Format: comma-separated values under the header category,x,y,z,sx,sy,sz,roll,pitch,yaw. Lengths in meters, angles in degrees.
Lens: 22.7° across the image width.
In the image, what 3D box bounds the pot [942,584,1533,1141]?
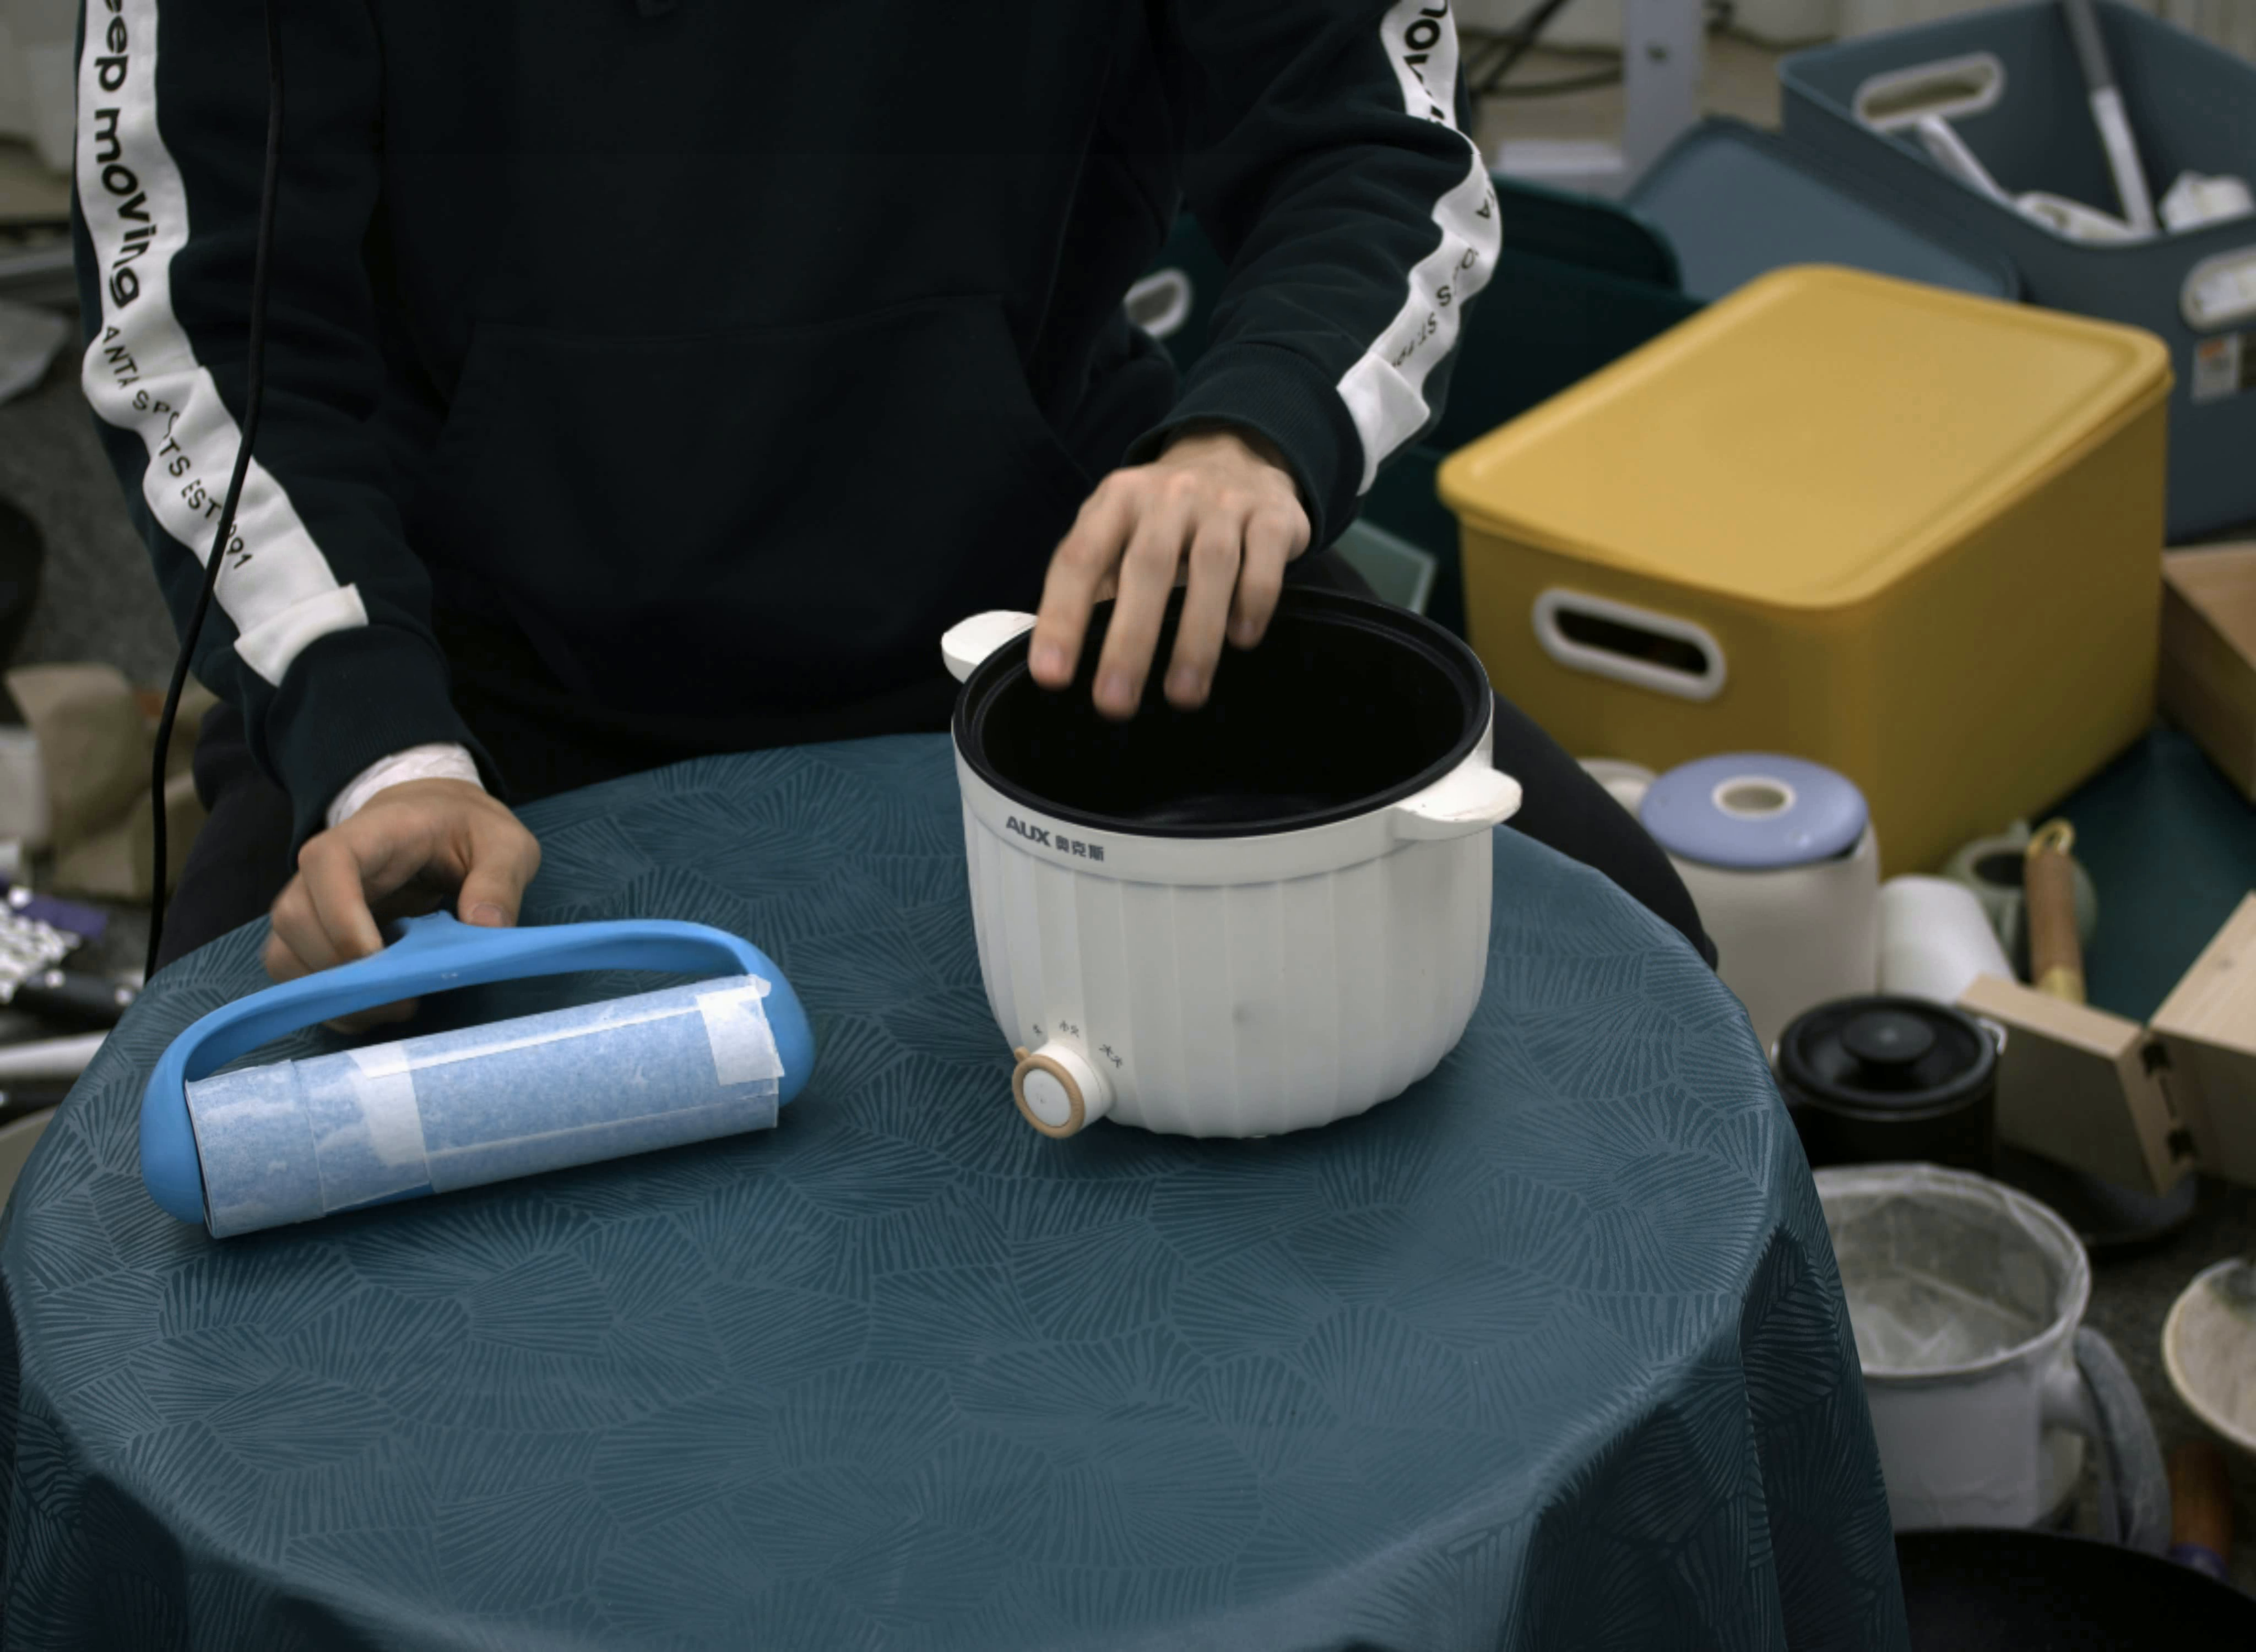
category,x,y,z,sx,sy,sz,roll,pitch,yaw
pot,0.034,0.019,1.905,0.239,0.141,0.193,17,30,36

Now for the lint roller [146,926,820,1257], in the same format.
category,x,y,z,sx,sy,sz,roll,pitch,yaw
lint roller,-0.234,0.069,1.924,0.229,0.067,0.182,-14,31,-17
